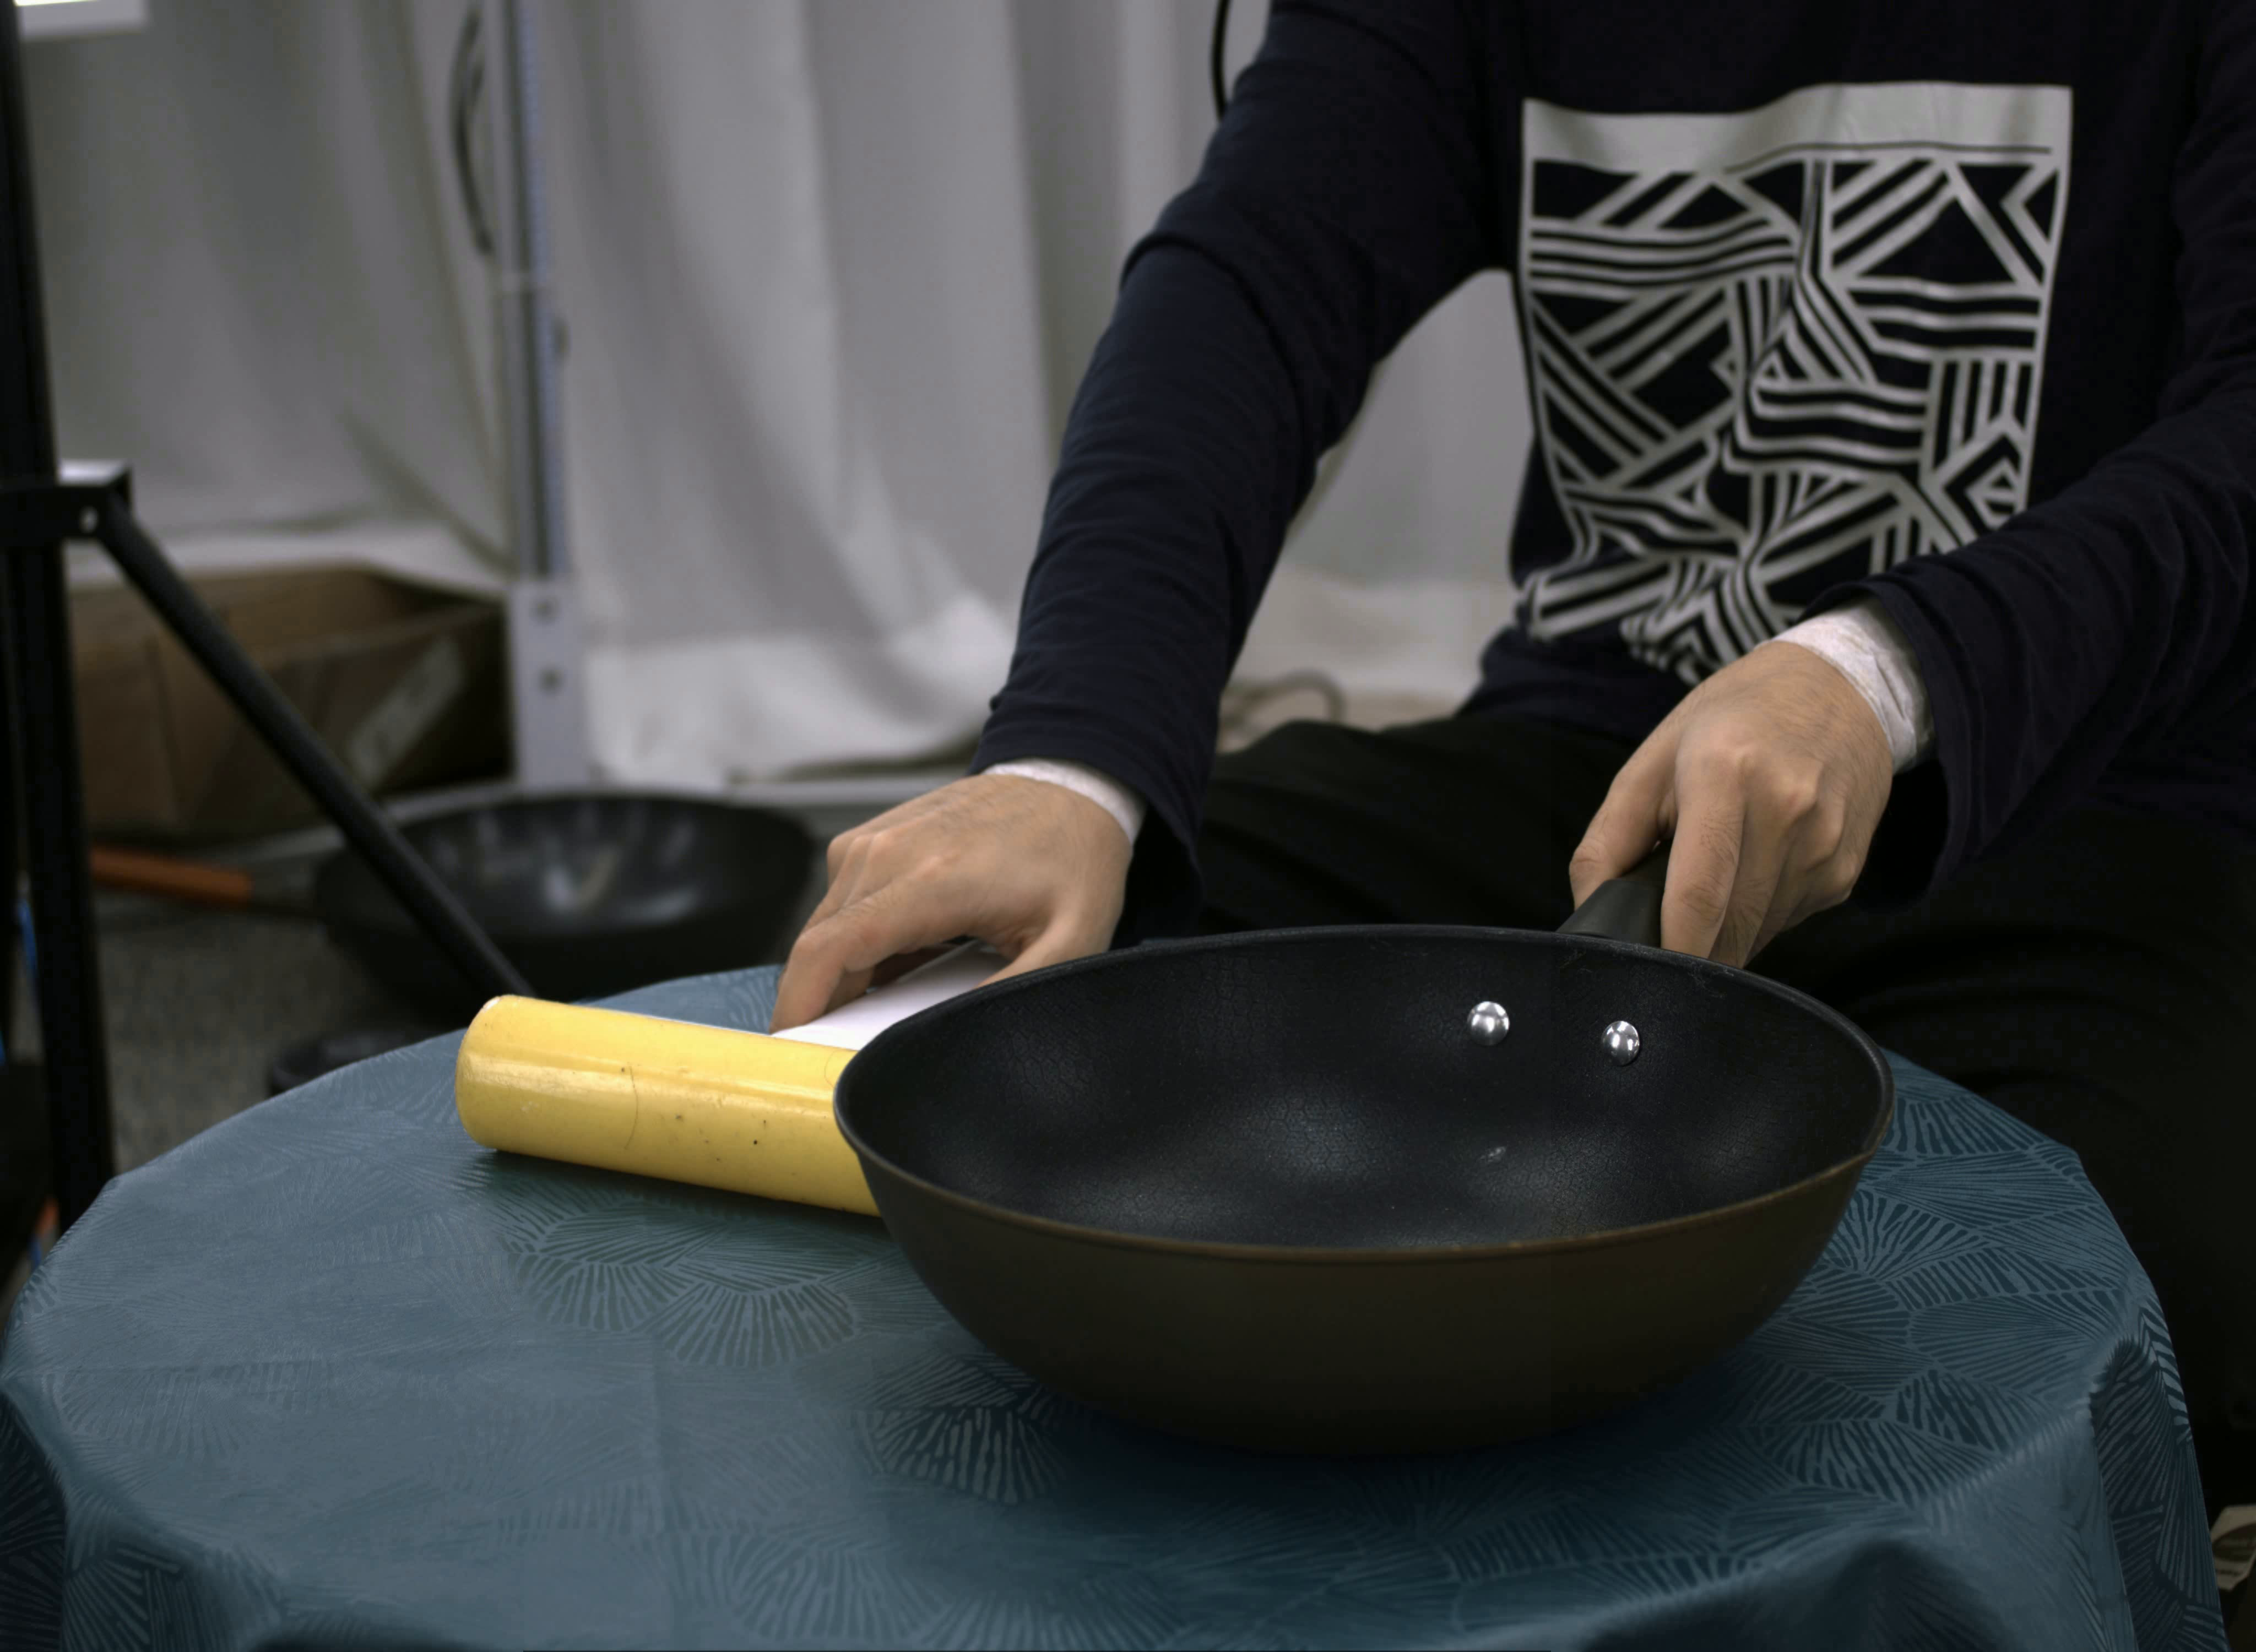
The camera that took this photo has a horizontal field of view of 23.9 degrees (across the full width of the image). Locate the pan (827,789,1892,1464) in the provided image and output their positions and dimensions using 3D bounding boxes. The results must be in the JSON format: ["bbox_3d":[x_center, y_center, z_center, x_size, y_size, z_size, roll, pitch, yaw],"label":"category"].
[{"bbox_3d":[0.104,0.081,1.491,0.293,0.087,0.455,7,18,28],"label":"pan"}]

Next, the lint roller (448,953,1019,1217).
[{"bbox_3d":[-0.089,0.059,1.637,0.177,0.051,0.189,7,24,29],"label":"lint roller"}]
